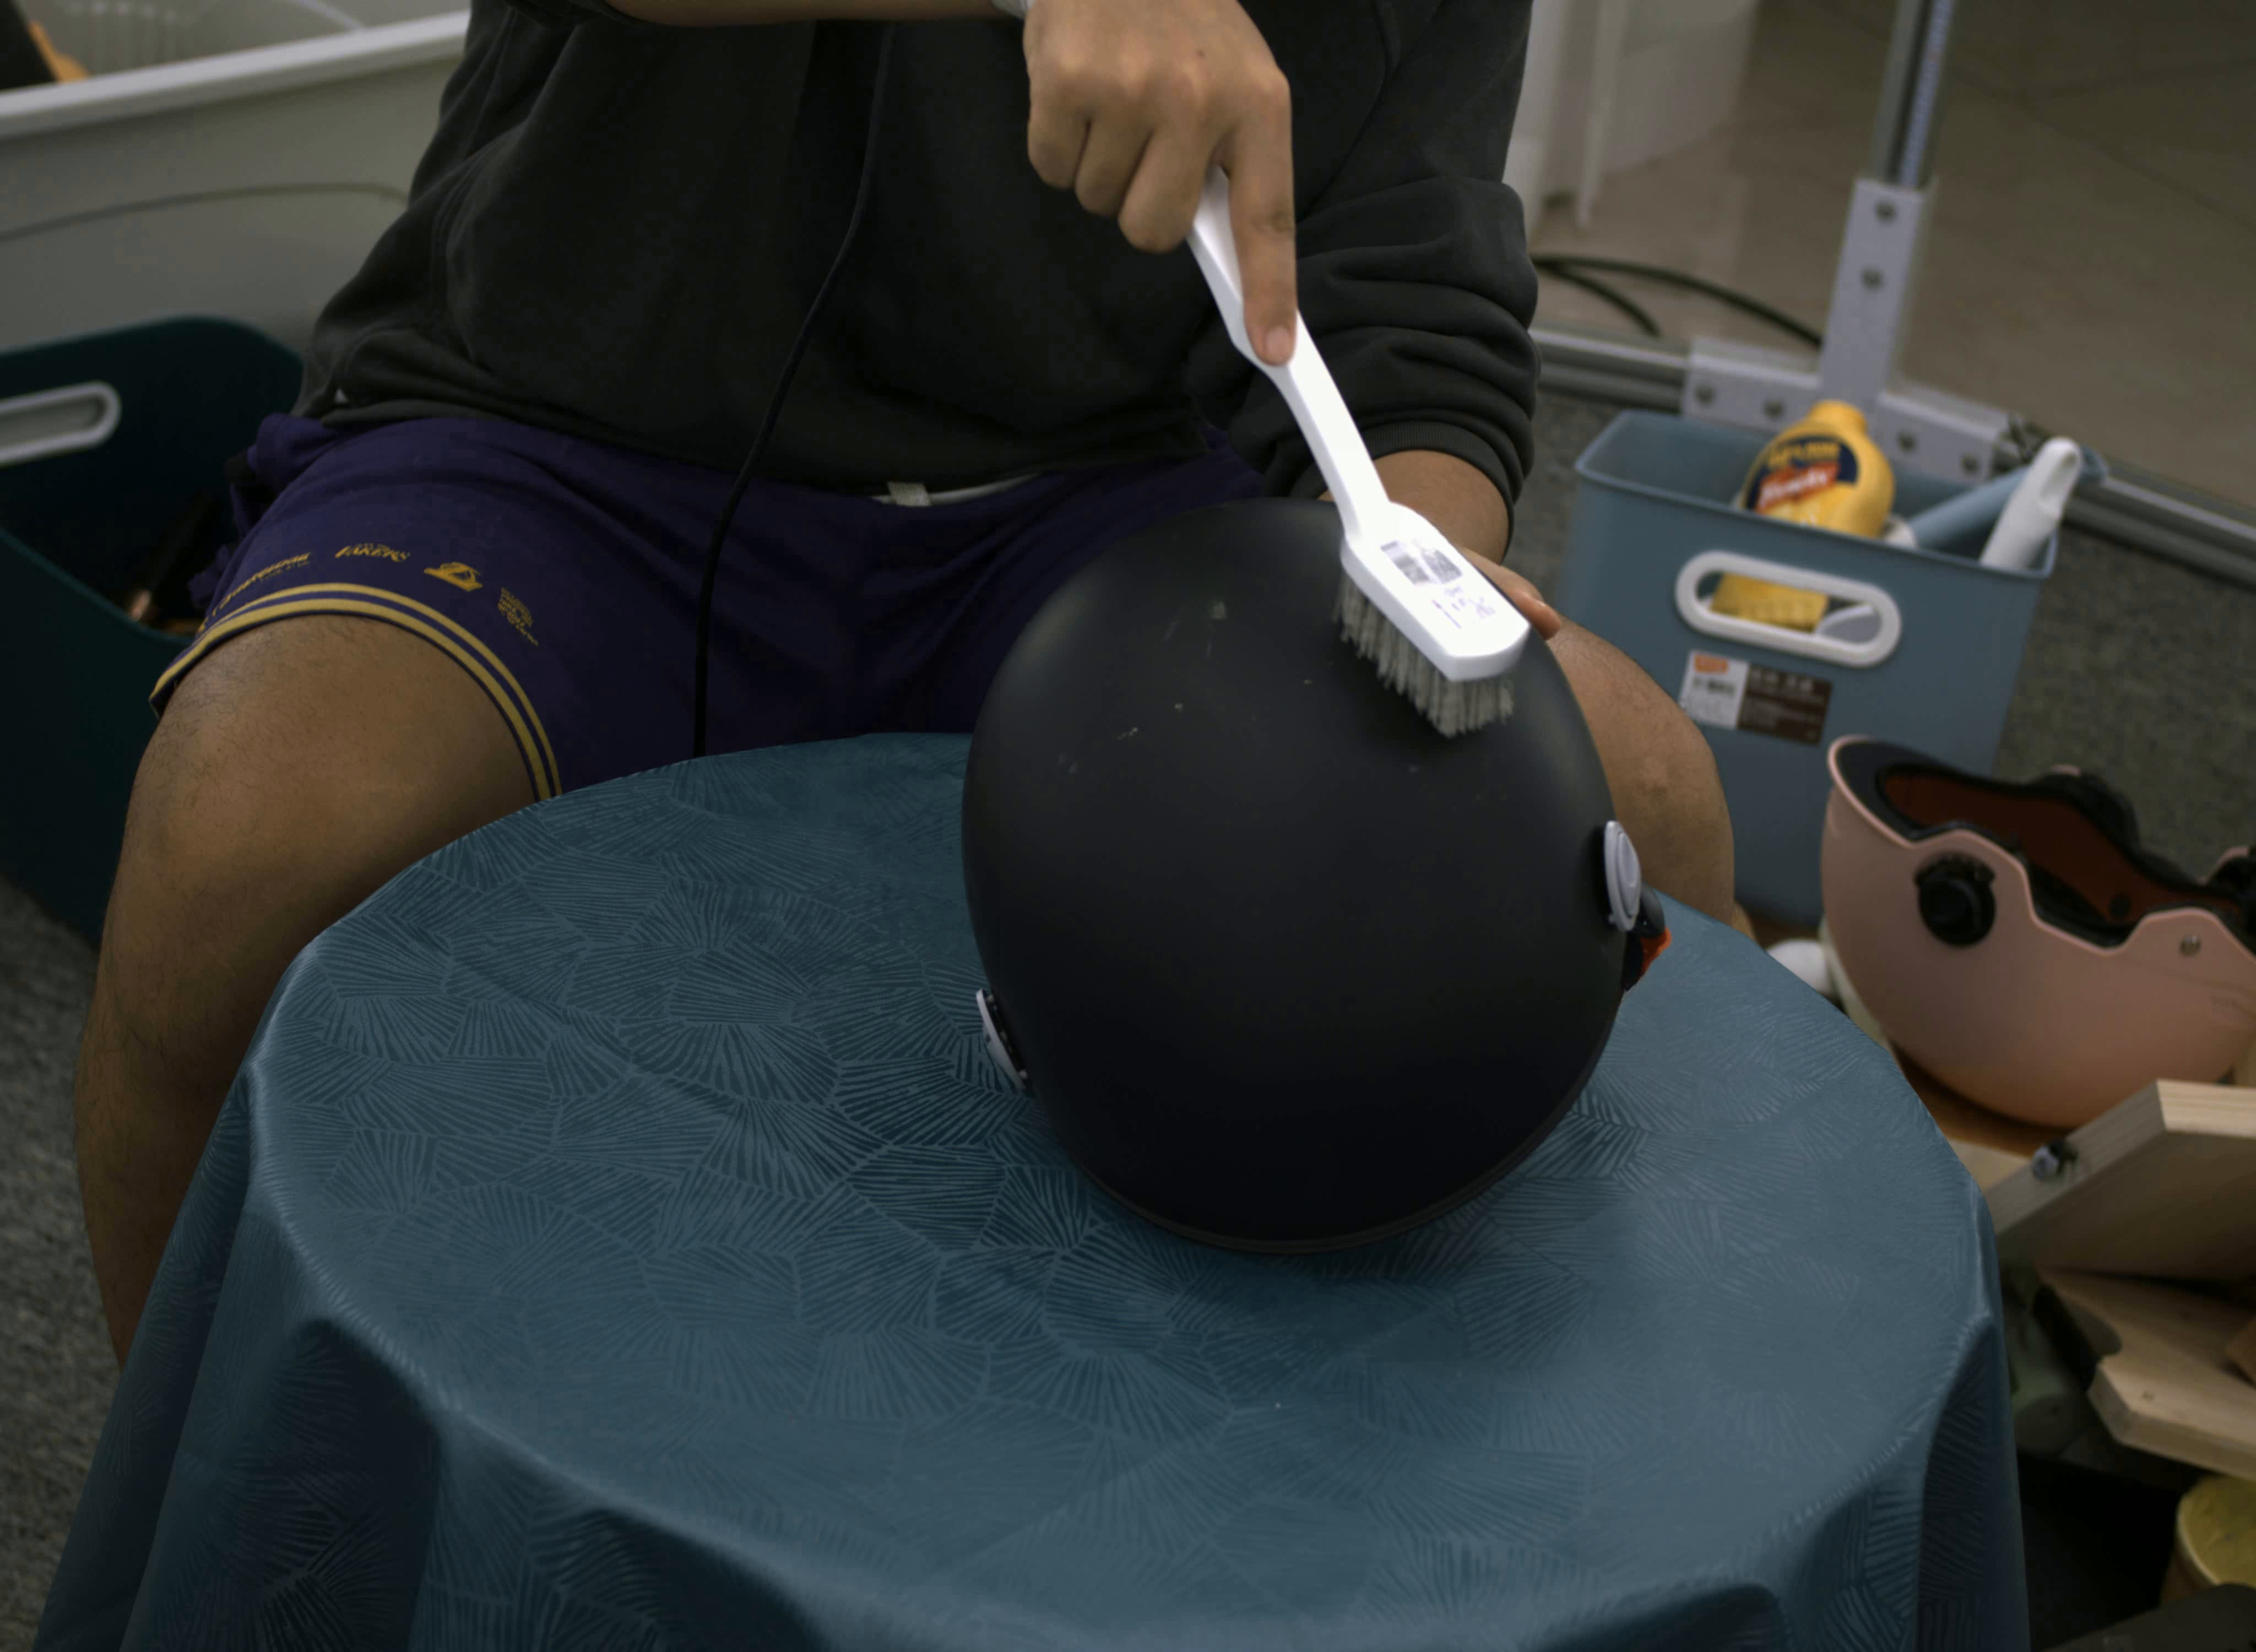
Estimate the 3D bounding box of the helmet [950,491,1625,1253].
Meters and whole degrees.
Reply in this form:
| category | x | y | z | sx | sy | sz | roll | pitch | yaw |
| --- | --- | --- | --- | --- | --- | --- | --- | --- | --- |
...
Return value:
| category | x | y | z | sx | sy | sz | roll | pitch | yaw |
| --- | --- | --- | --- | --- | --- | --- | --- | --- | --- |
| helmet | 0.044 | -0.006 | 1.796 | 0.230 | 0.165 | 0.275 | -14 | 46 | 11 |

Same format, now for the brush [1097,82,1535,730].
| category | x | y | z | sx | sy | sz | roll | pitch | yaw |
| --- | --- | --- | --- | --- | --- | --- | --- | --- | --- |
| brush | 0.054 | -0.137 | 1.741 | 0.034 | 0.050 | 0.245 | -25 | 73 | -31 |
